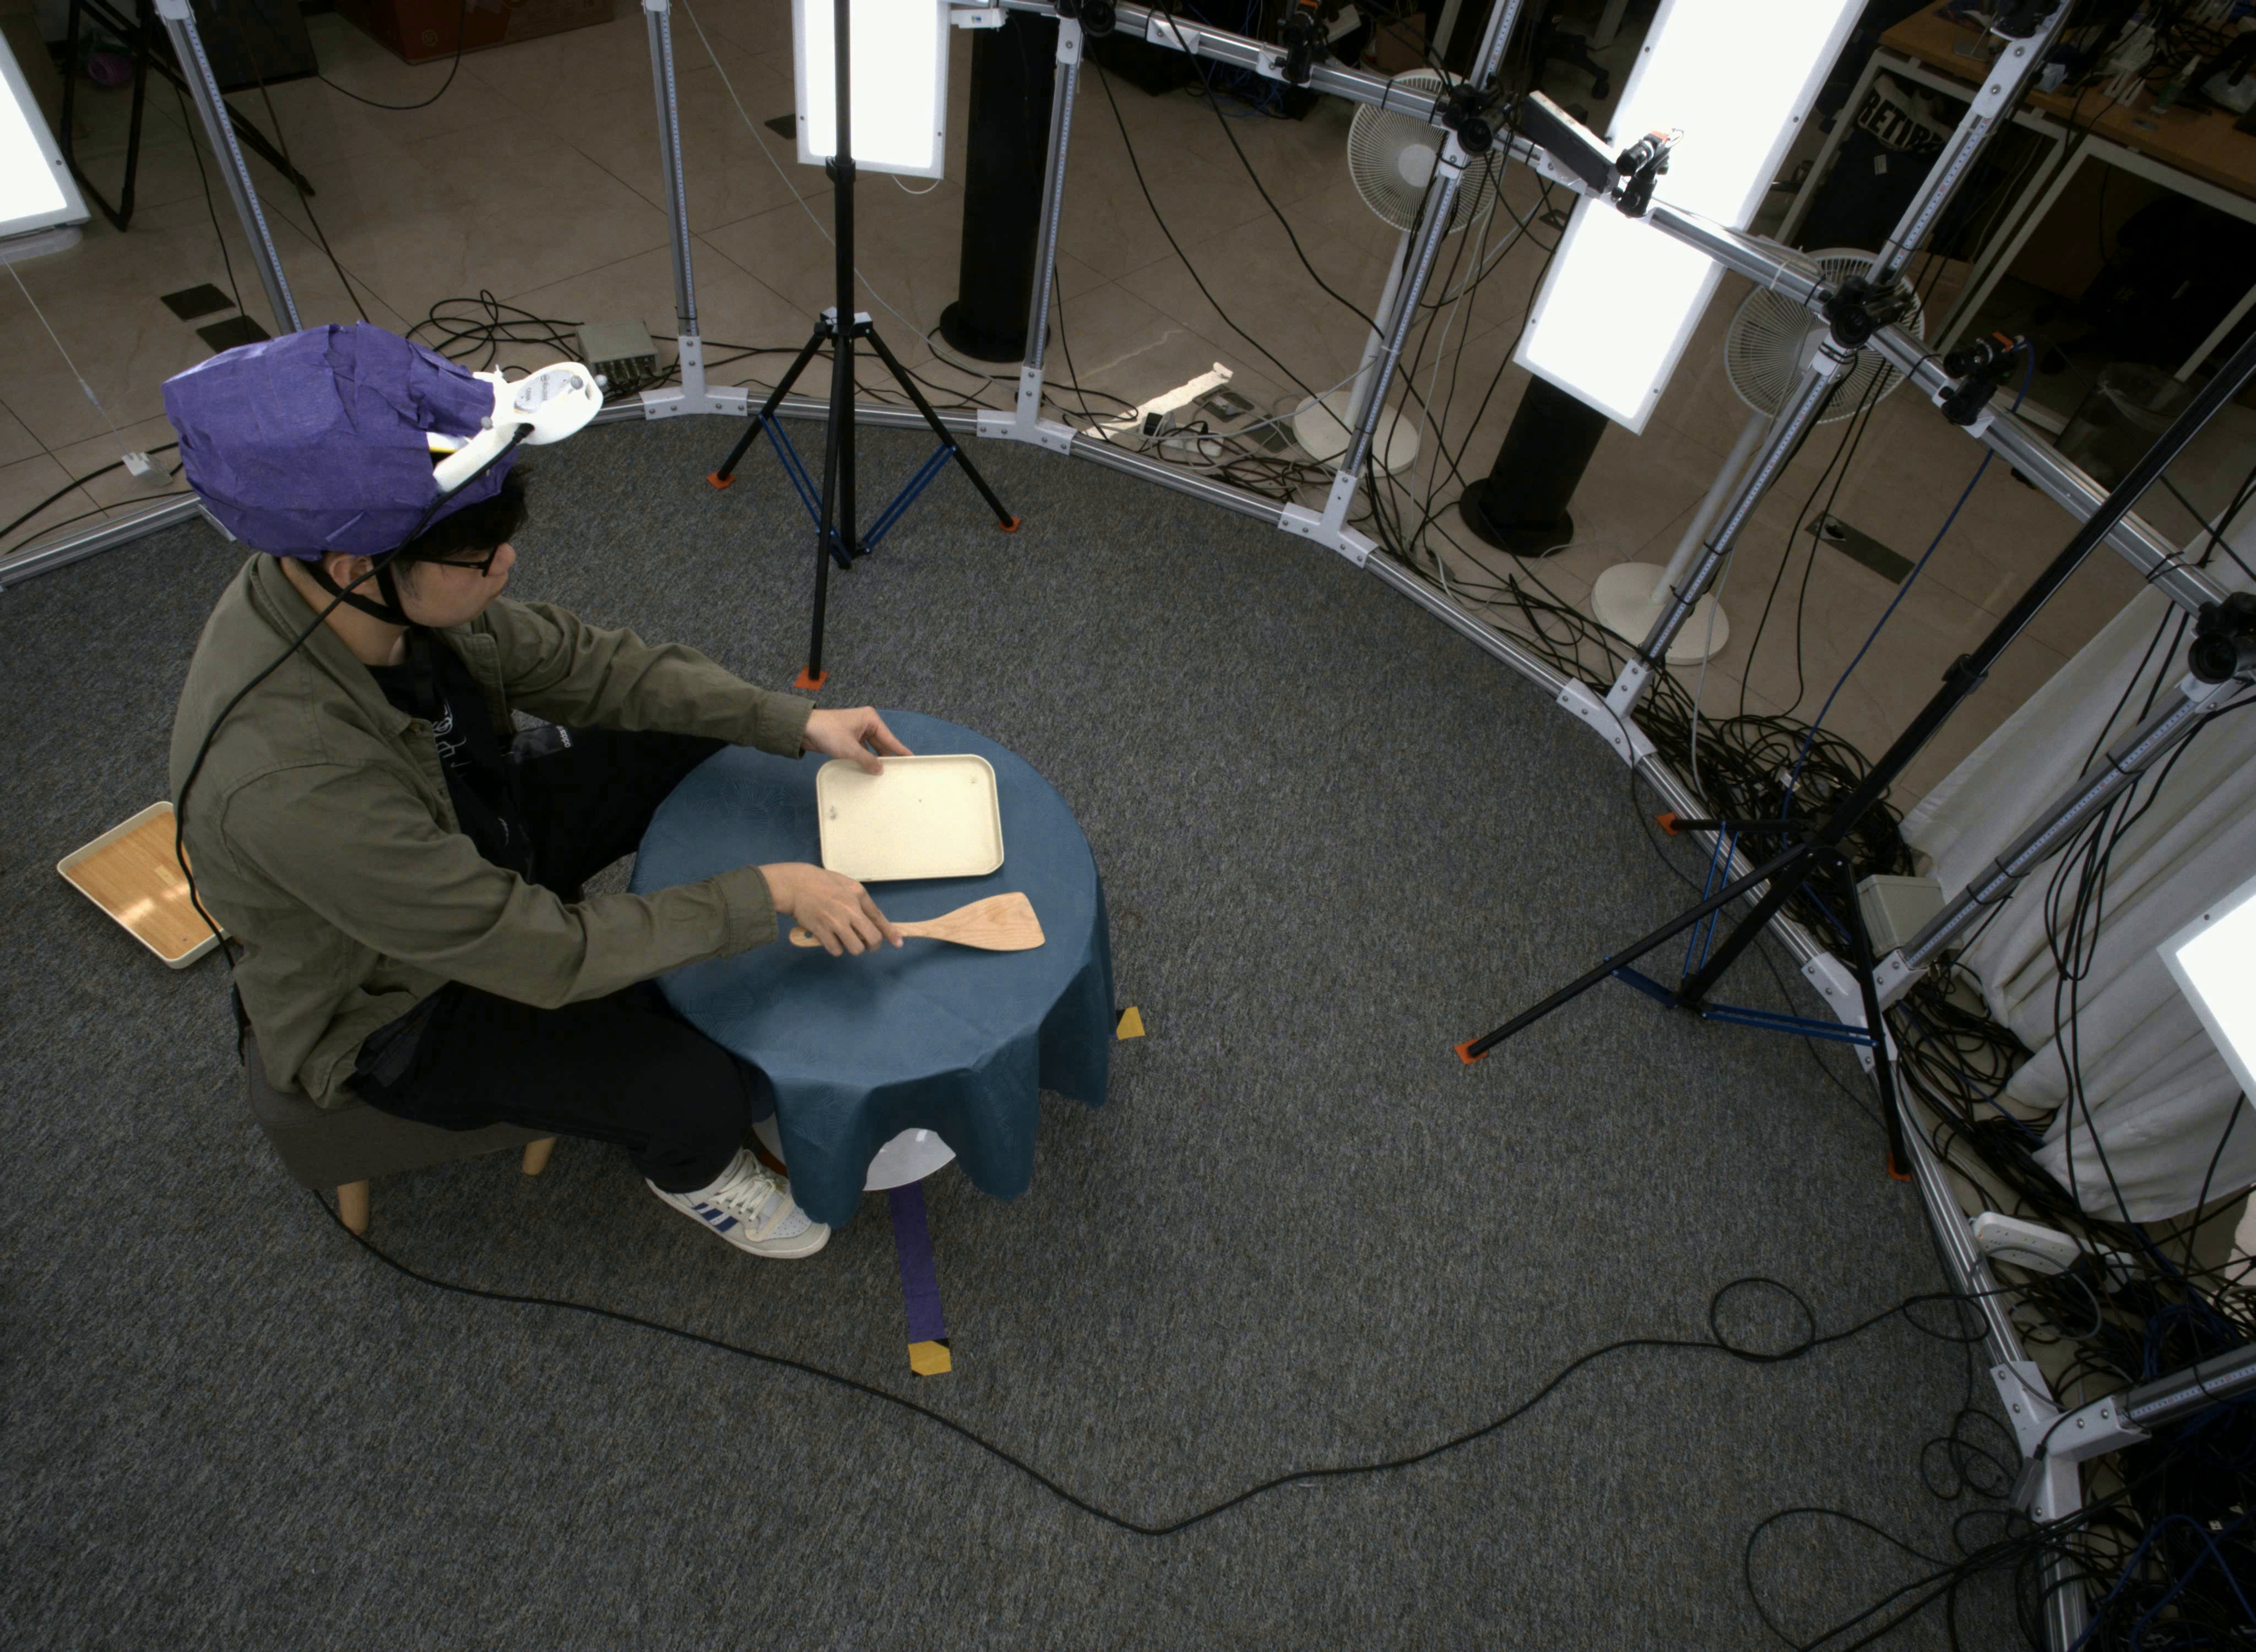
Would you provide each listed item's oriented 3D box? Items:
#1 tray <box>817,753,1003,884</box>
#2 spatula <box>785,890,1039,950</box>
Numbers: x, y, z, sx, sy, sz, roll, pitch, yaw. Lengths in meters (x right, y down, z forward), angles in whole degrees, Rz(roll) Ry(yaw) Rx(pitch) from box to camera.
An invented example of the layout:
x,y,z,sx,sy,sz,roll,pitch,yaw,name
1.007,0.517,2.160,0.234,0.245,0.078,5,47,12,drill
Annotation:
x,y,z,sx,sy,sz,roll,pitch,yaw,name
-0.289,-0.011,1.730,0.241,0.017,0.171,-3,76,-20,tray
-0.267,0.125,1.628,0.332,0.016,0.079,-2,68,-33,spatula
